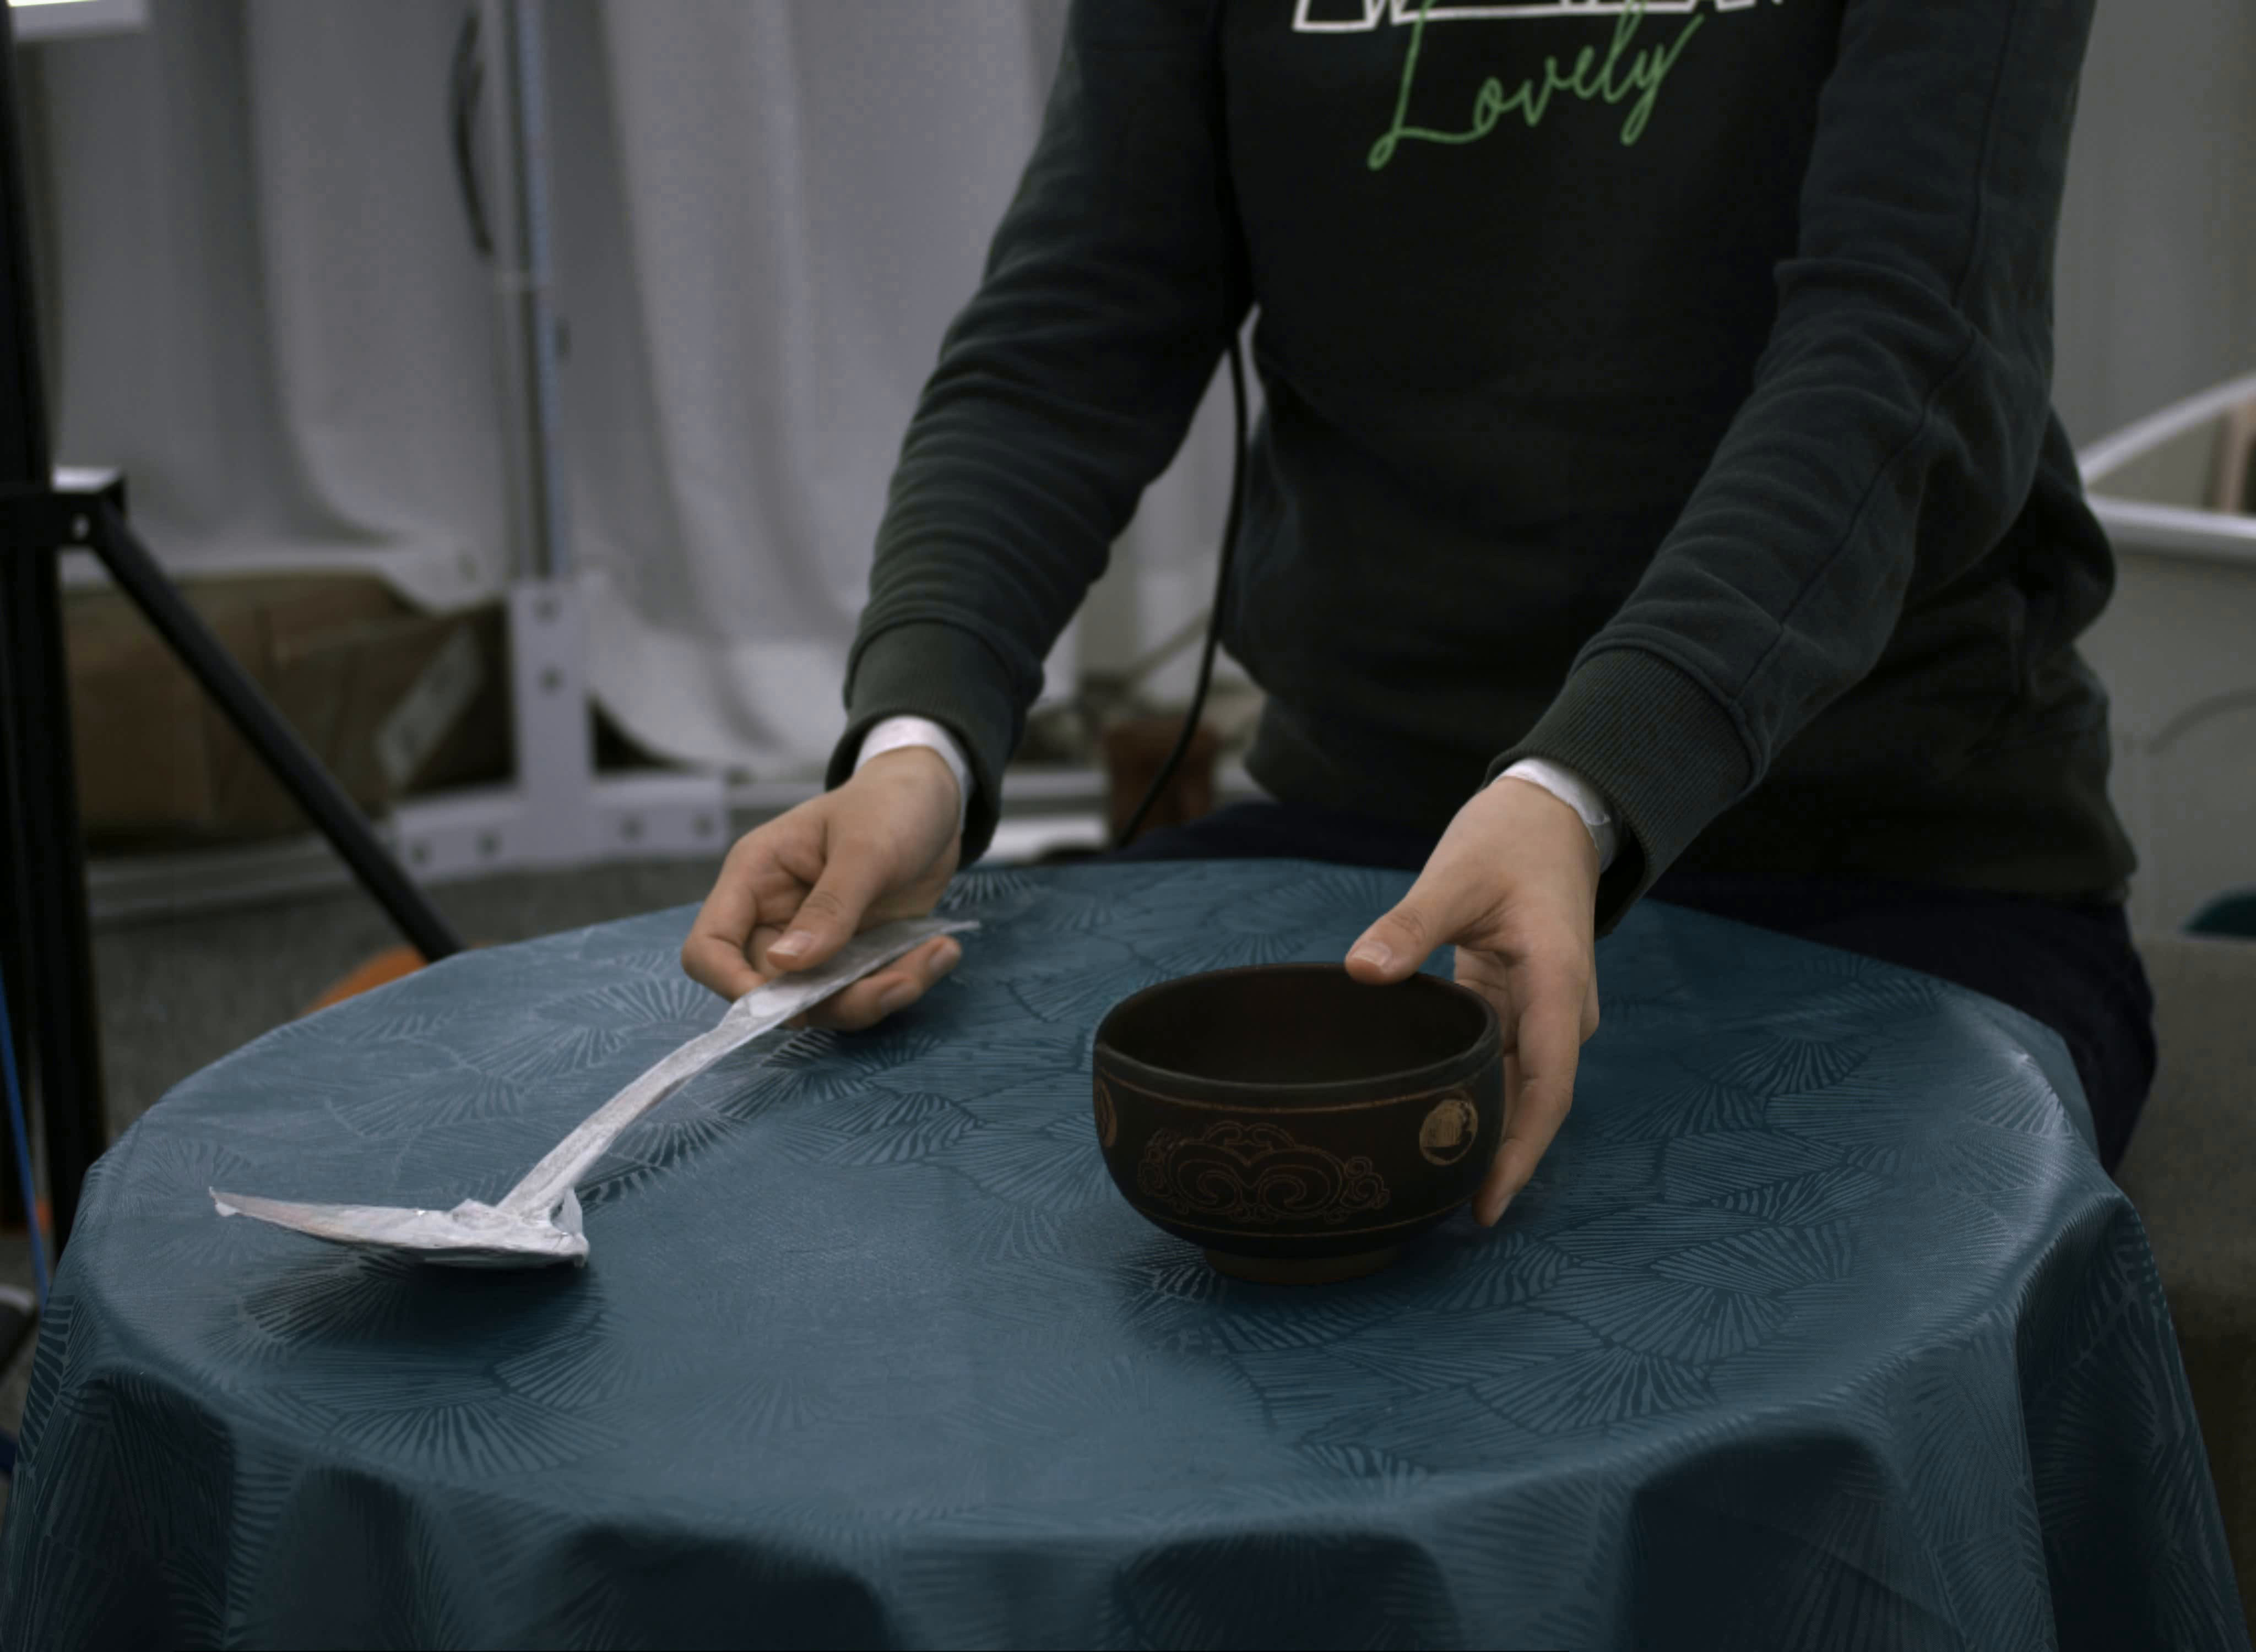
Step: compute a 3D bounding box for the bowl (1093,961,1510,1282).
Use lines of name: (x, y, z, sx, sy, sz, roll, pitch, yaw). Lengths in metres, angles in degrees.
bowl: (0.049, 0.087, 1.494, 0.117, 0.070, 0.118, -1, 15, -1)

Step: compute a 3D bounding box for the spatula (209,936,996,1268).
spatula: (-0.138, 0.074, 1.614, 0.100, 0.045, 0.359, 5, 21, 28)
